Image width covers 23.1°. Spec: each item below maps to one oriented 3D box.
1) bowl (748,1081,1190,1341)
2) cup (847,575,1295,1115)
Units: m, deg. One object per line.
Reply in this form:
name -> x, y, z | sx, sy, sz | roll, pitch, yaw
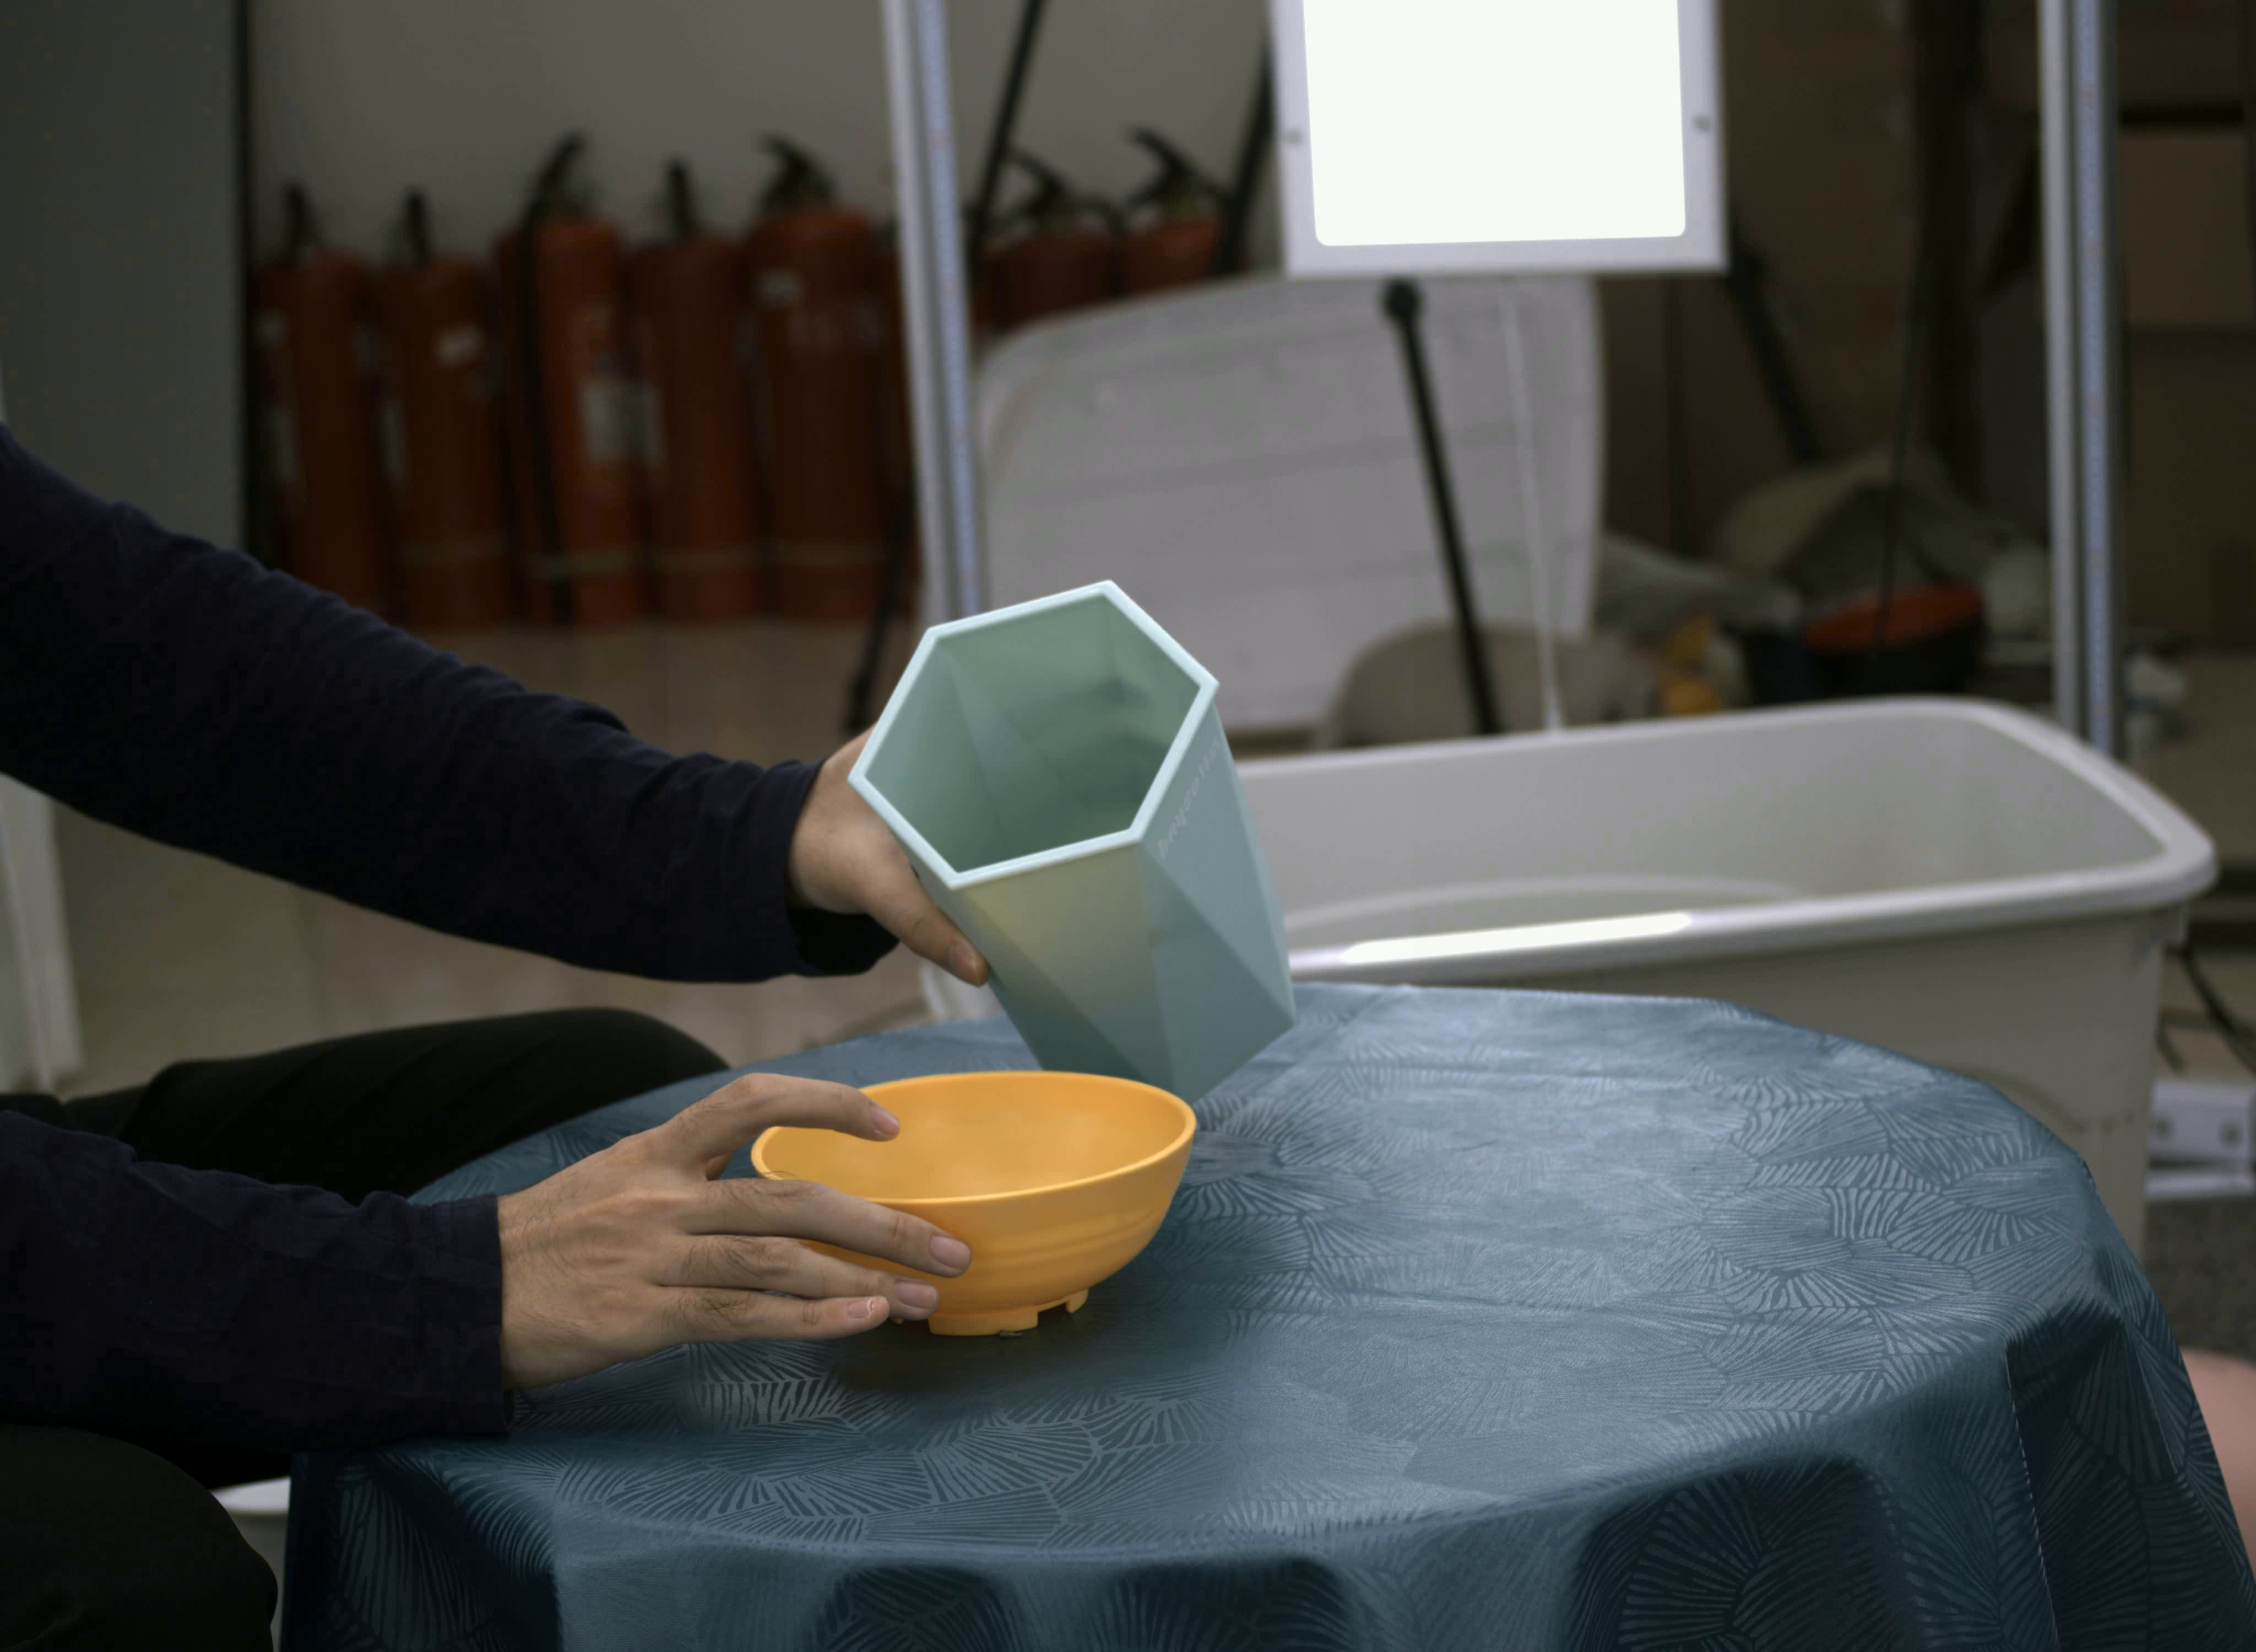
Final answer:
bowl -> -0.049, 0.129, 1.788 | 0.145, 0.060, 0.145 | -6, 12, 0
cup -> -0.009, 0.013, 1.902 | 0.117, 0.162, 0.129 | 9, 57, 29
